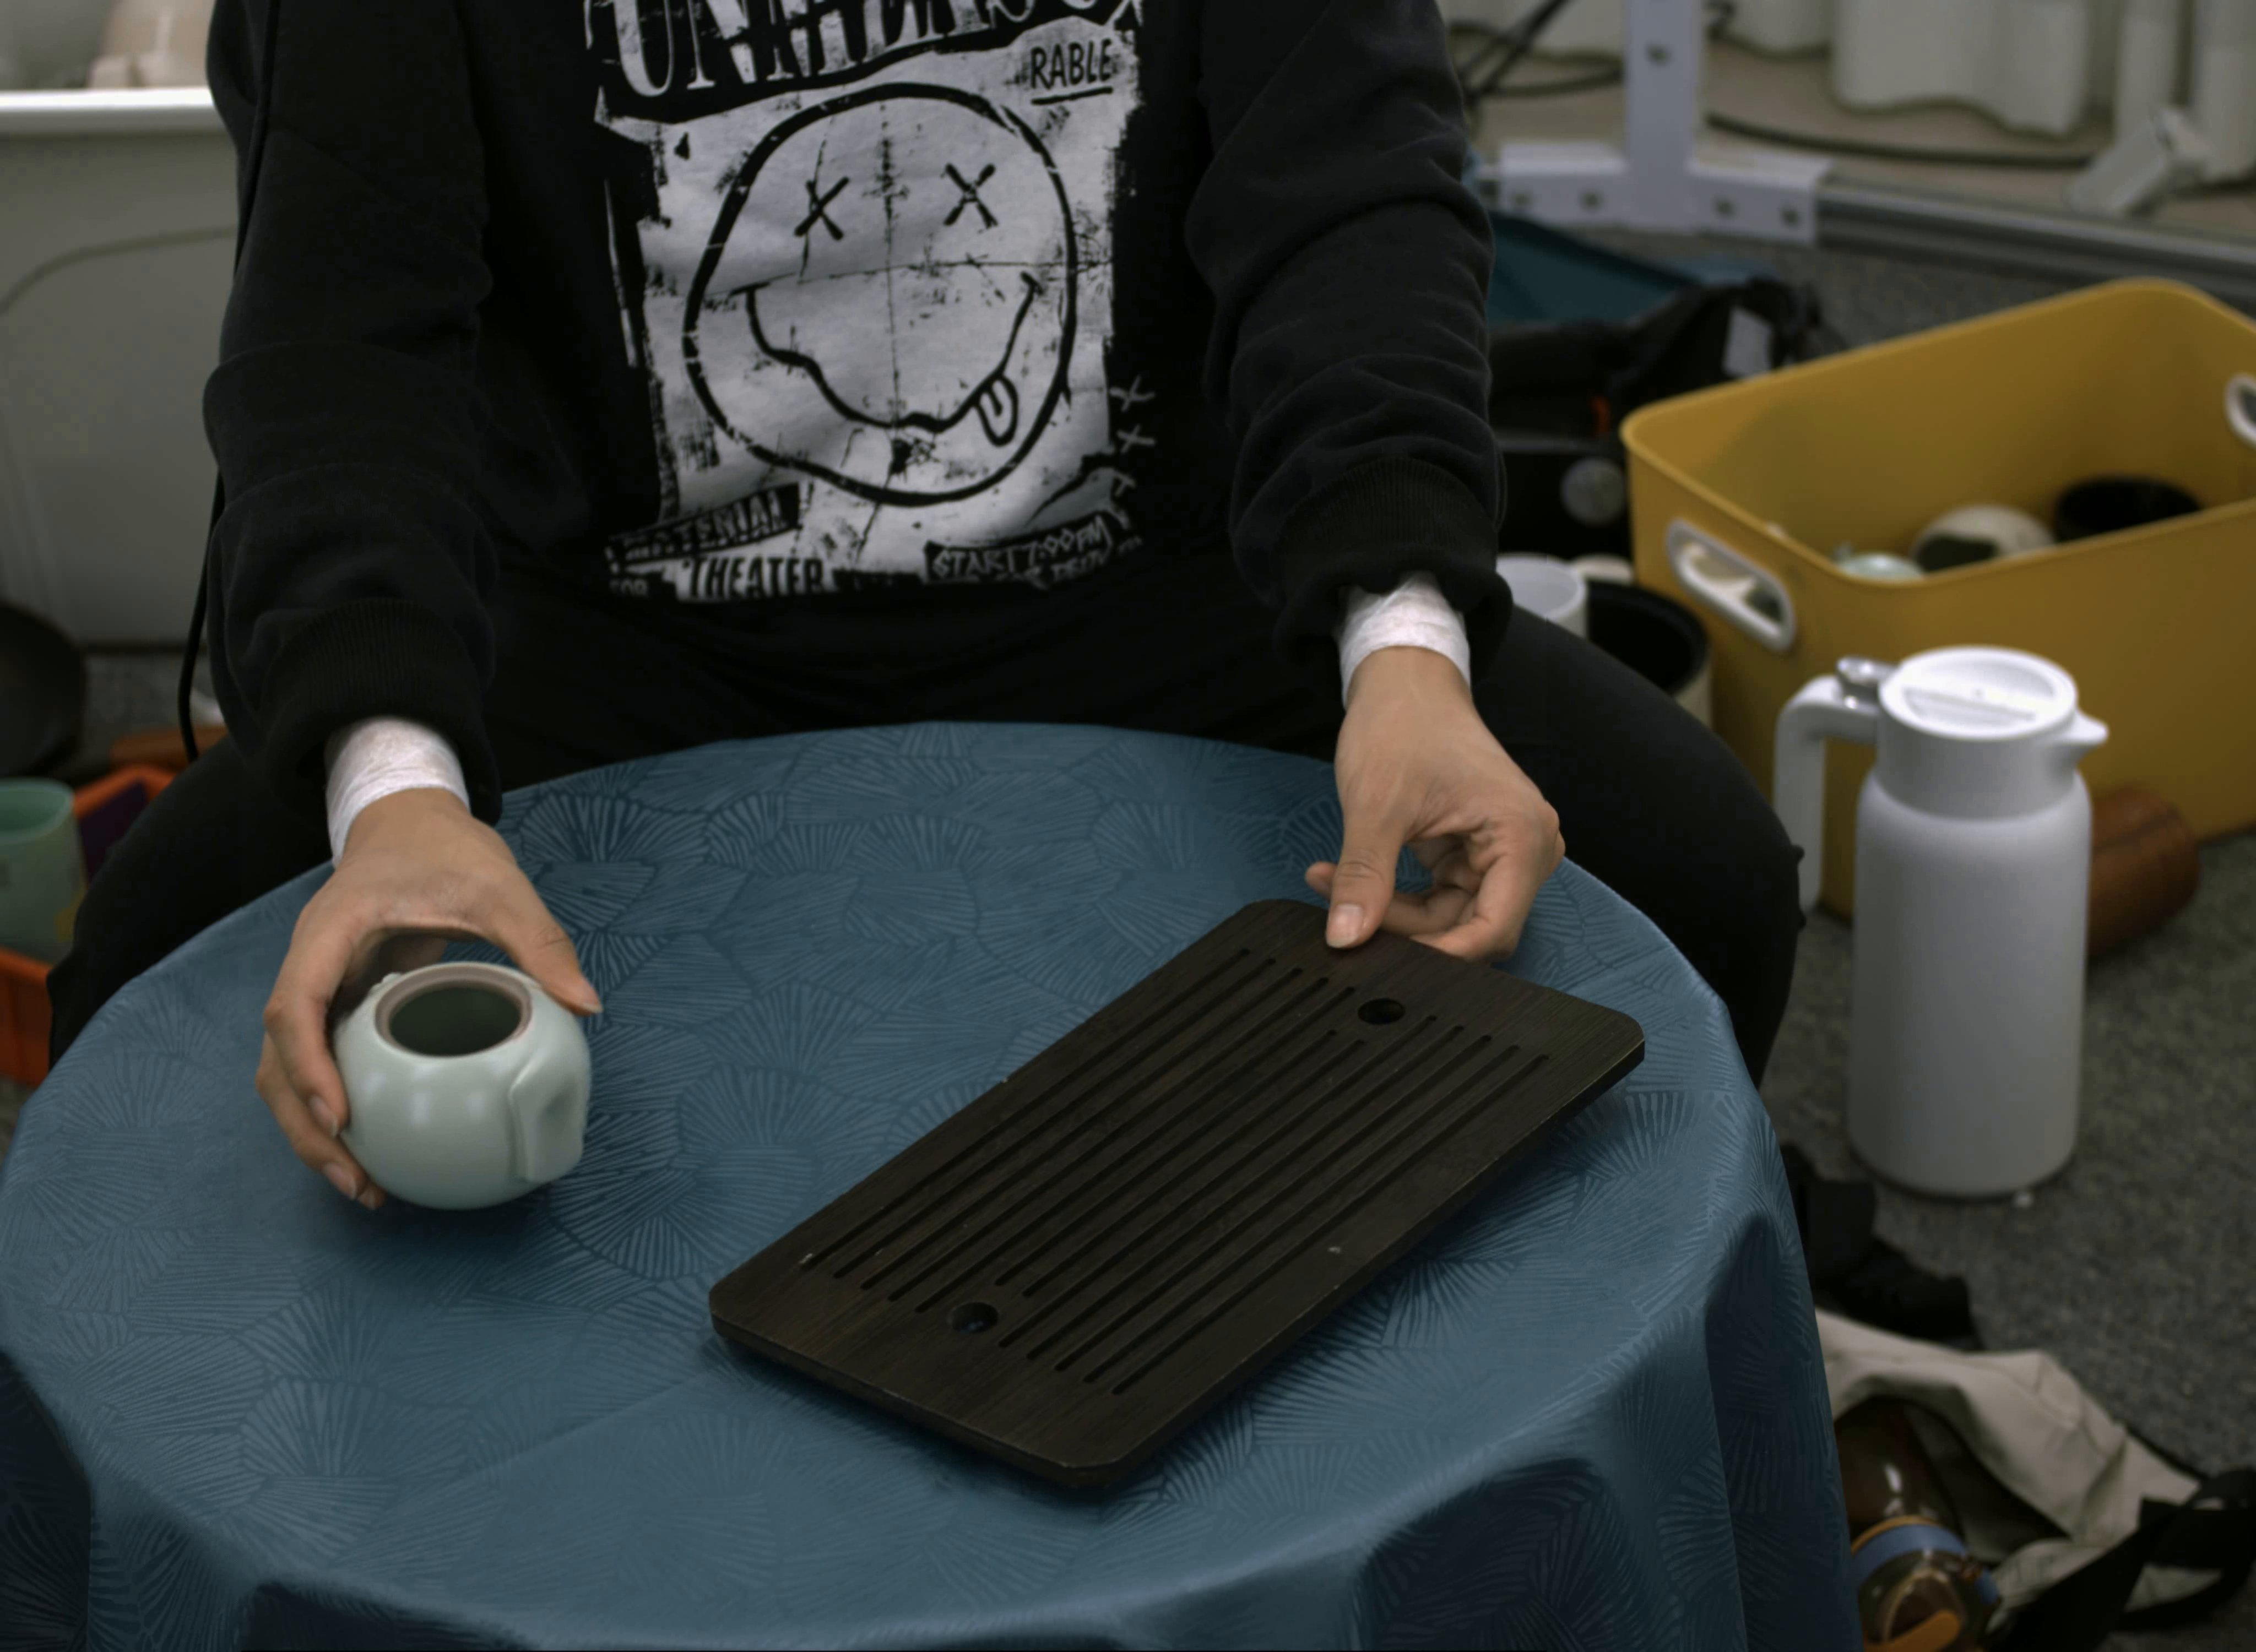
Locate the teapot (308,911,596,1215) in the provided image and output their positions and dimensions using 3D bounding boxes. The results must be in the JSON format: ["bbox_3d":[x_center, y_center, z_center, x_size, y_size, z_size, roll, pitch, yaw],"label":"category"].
[{"bbox_3d":[-0.222,0.087,1.856,0.089,0.074,0.144,-26,43,-35],"label":"teapot"}]

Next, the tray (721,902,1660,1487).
[{"bbox_3d":[0.025,0.117,1.835,0.169,0.018,0.310,18,36,35],"label":"tray"}]
